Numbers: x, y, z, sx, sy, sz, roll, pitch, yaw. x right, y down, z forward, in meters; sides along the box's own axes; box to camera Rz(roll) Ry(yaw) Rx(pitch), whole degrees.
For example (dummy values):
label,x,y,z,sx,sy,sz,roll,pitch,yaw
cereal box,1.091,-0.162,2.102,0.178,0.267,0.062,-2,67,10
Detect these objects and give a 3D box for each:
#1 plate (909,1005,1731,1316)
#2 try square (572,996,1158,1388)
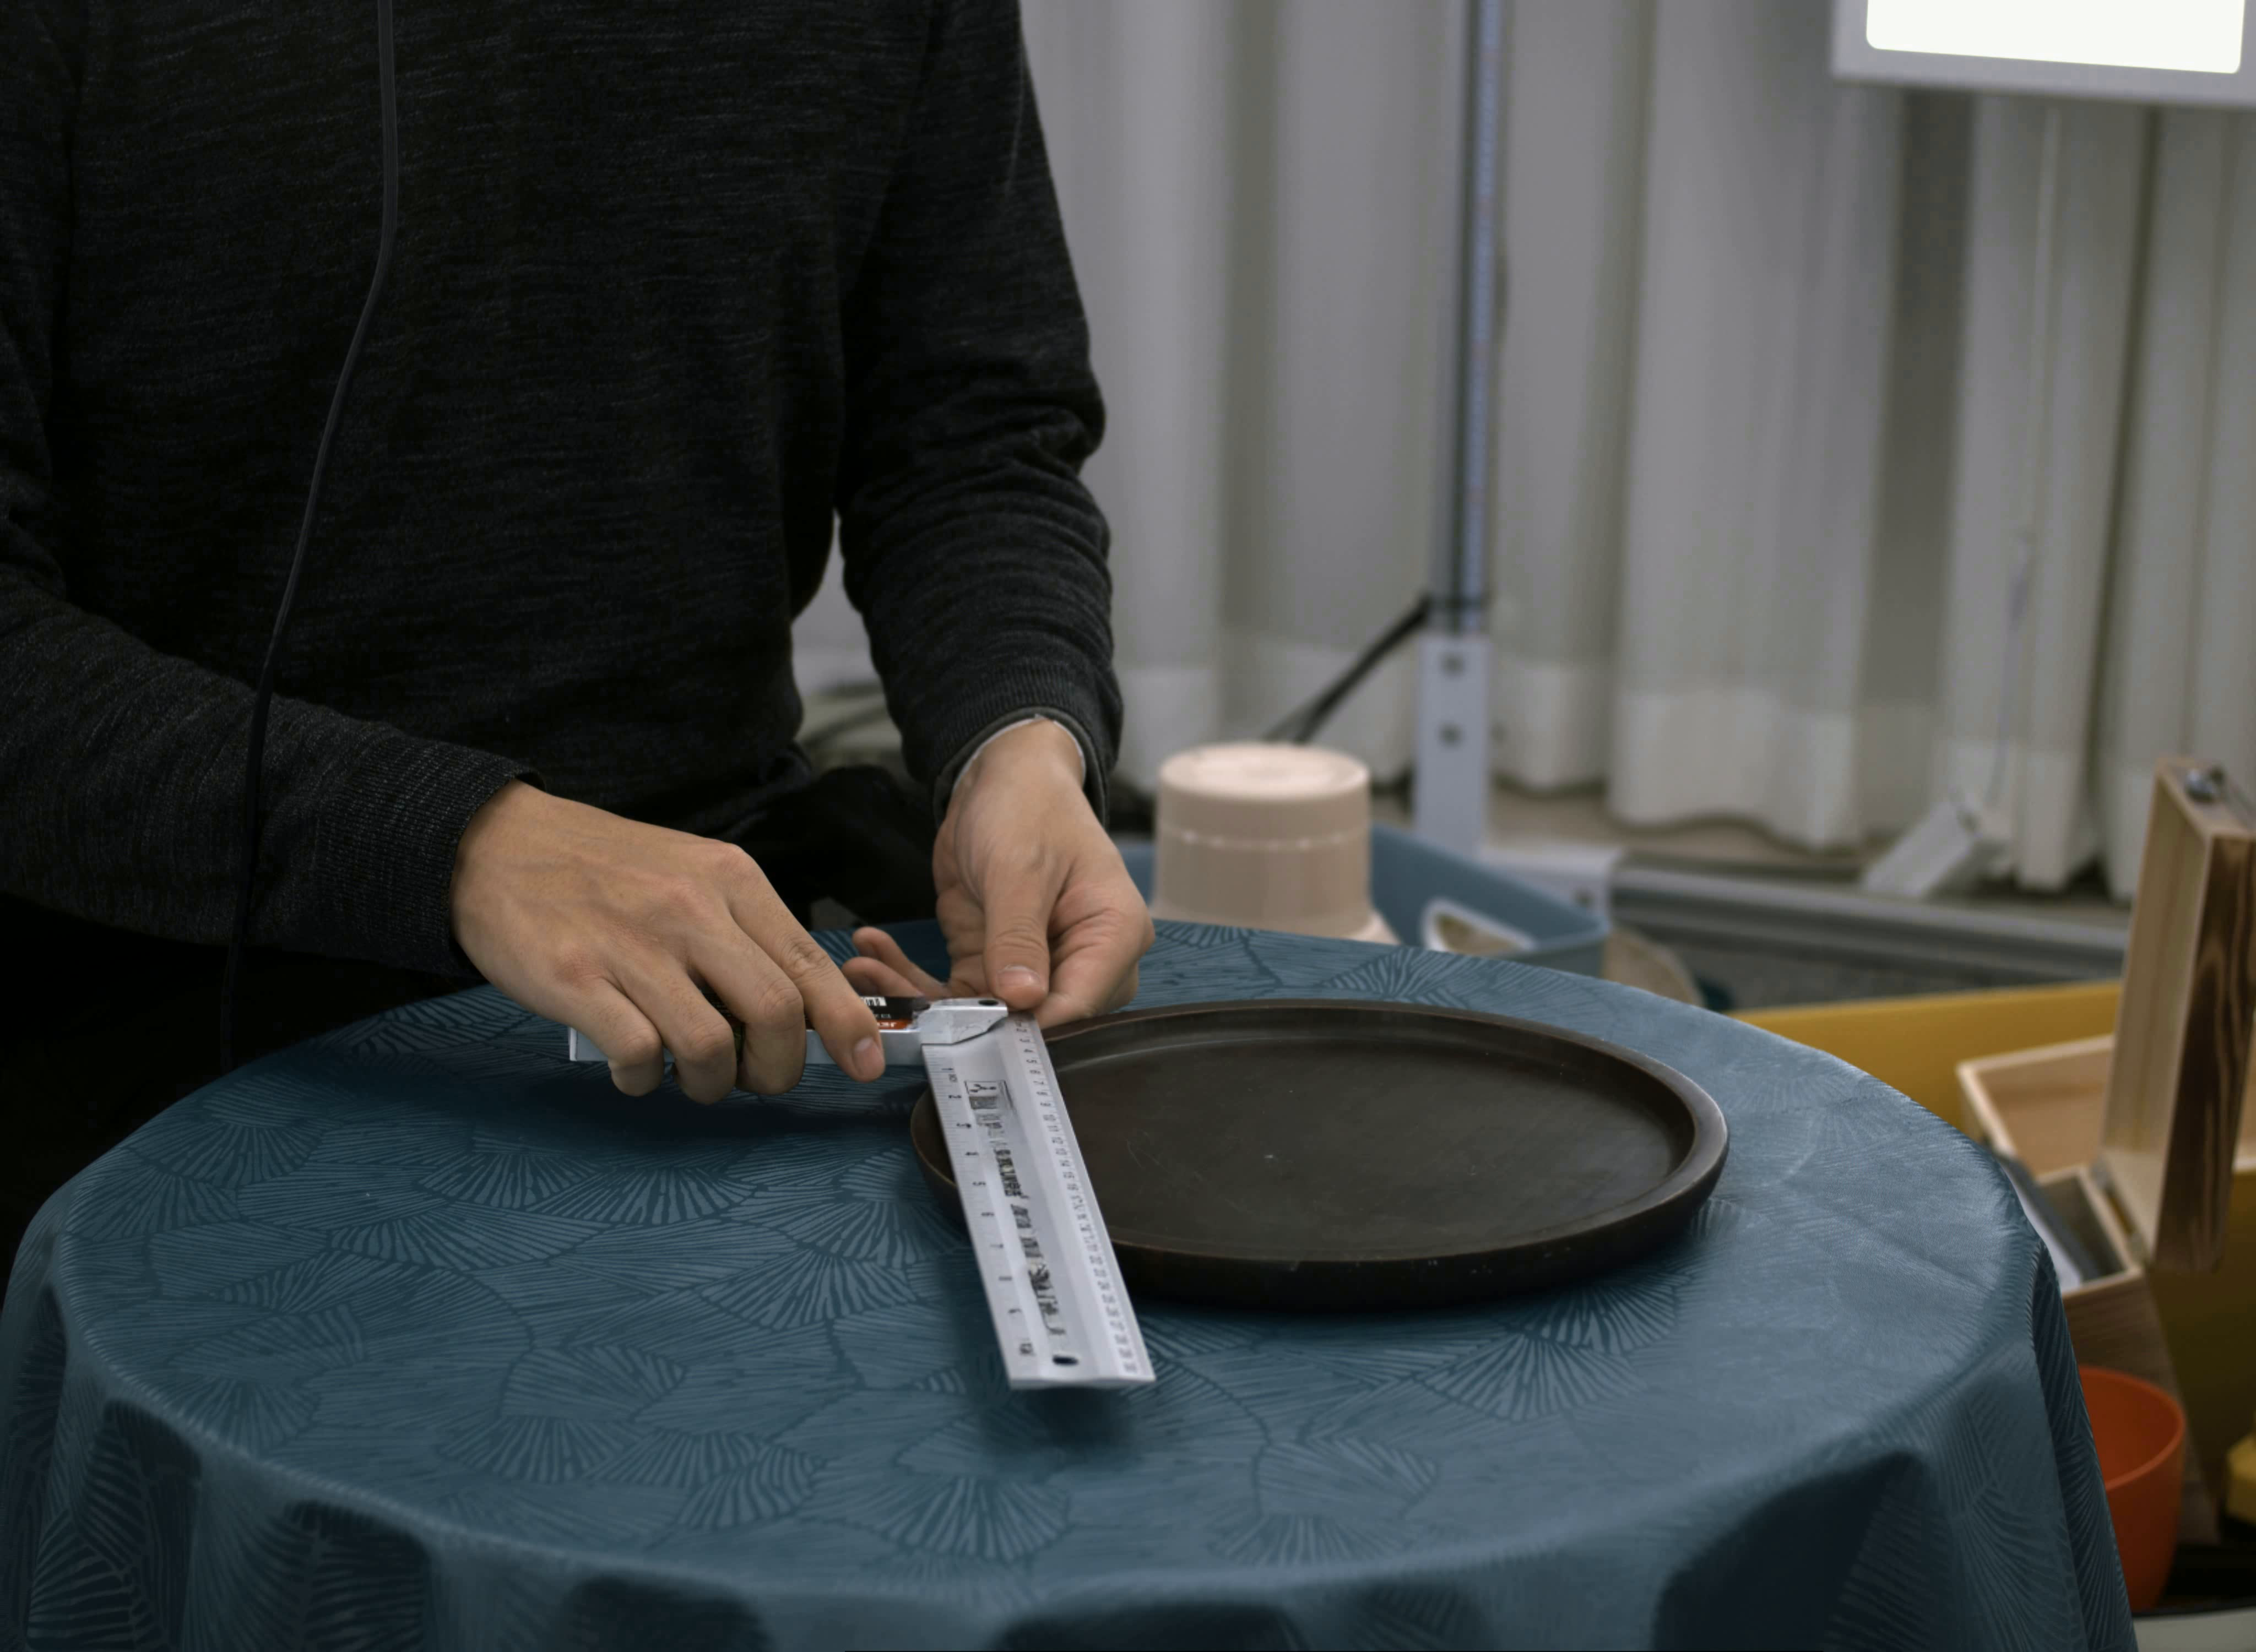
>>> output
label,x,y,z,sx,sy,sz,roll,pitch,yaw
plate,0.059,0.100,1.623,0.254,0.029,0.253,1,17,0
try square,-0.085,0.105,1.551,0.152,0.016,0.310,-1,17,-7
